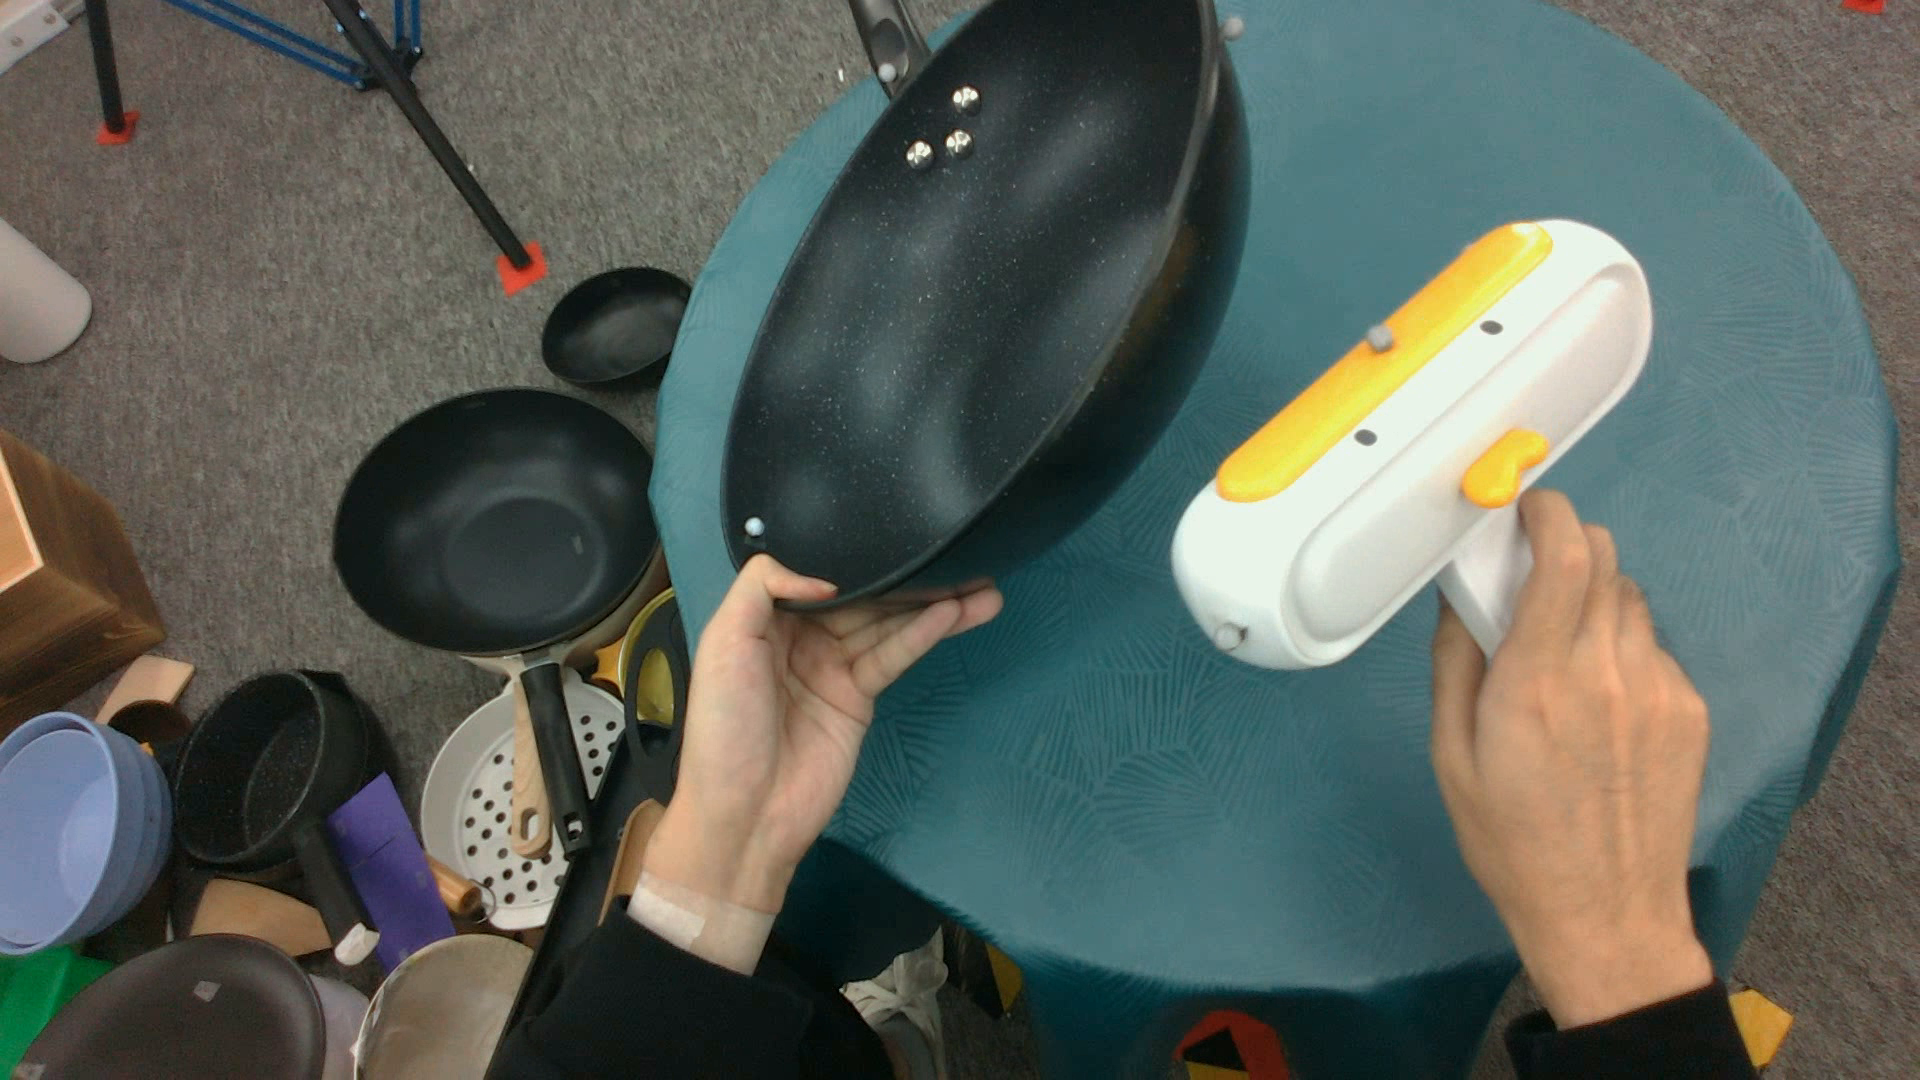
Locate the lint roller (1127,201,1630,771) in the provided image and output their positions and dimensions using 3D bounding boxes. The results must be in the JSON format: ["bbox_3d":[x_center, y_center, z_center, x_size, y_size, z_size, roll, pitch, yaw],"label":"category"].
[{"bbox_3d":[0.170,0.006,0.478,0.193,0.192,0.074,-47,28,-17],"label":"lint roller"}]

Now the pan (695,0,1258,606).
[{"bbox_3d":[-0.005,-0.165,0.641,0.309,0.111,0.479,-39,40,27],"label":"pan"}]
